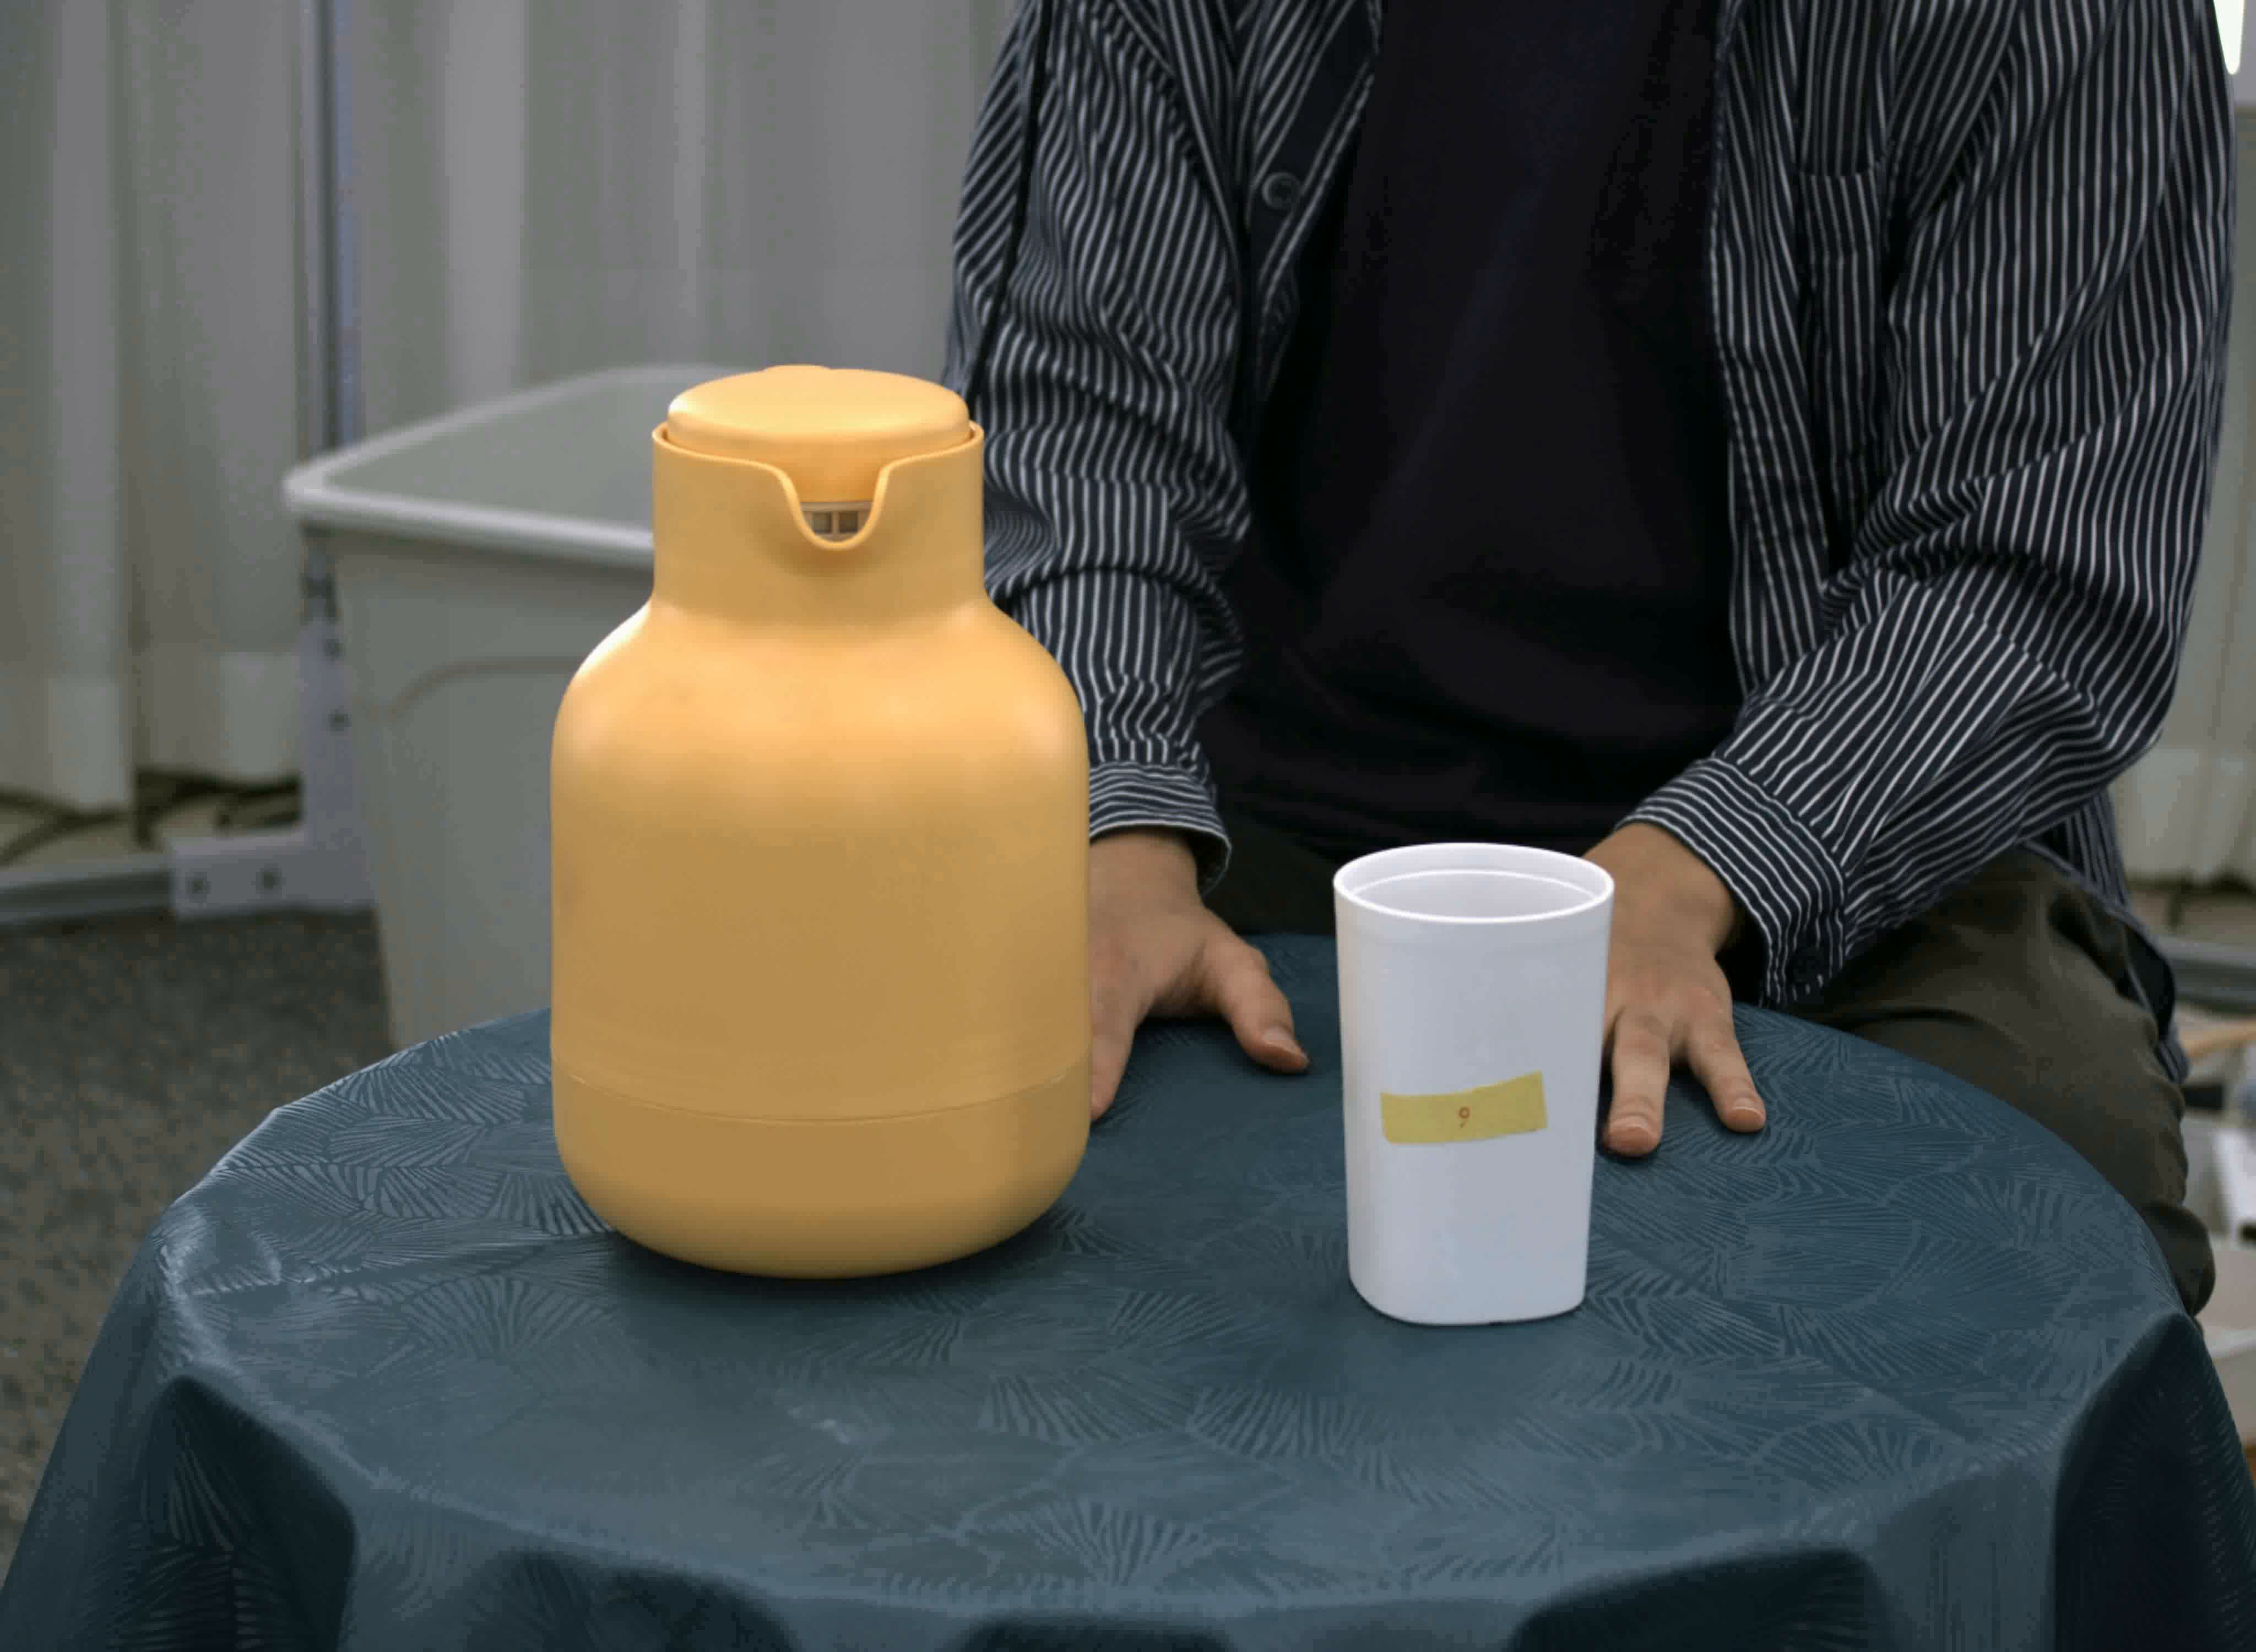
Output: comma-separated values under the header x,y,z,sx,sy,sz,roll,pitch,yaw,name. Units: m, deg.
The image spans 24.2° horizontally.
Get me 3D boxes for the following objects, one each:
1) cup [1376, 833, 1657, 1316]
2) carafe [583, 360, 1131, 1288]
x,y,z,sx,sy,sz,roll,pitch,yaw,name
0.112,0.073,1.531,0.081,0.126,0.081,0,16,0,cup
-0.082,-0.009,1.574,0.163,0.262,0.200,-2,16,-10,carafe
